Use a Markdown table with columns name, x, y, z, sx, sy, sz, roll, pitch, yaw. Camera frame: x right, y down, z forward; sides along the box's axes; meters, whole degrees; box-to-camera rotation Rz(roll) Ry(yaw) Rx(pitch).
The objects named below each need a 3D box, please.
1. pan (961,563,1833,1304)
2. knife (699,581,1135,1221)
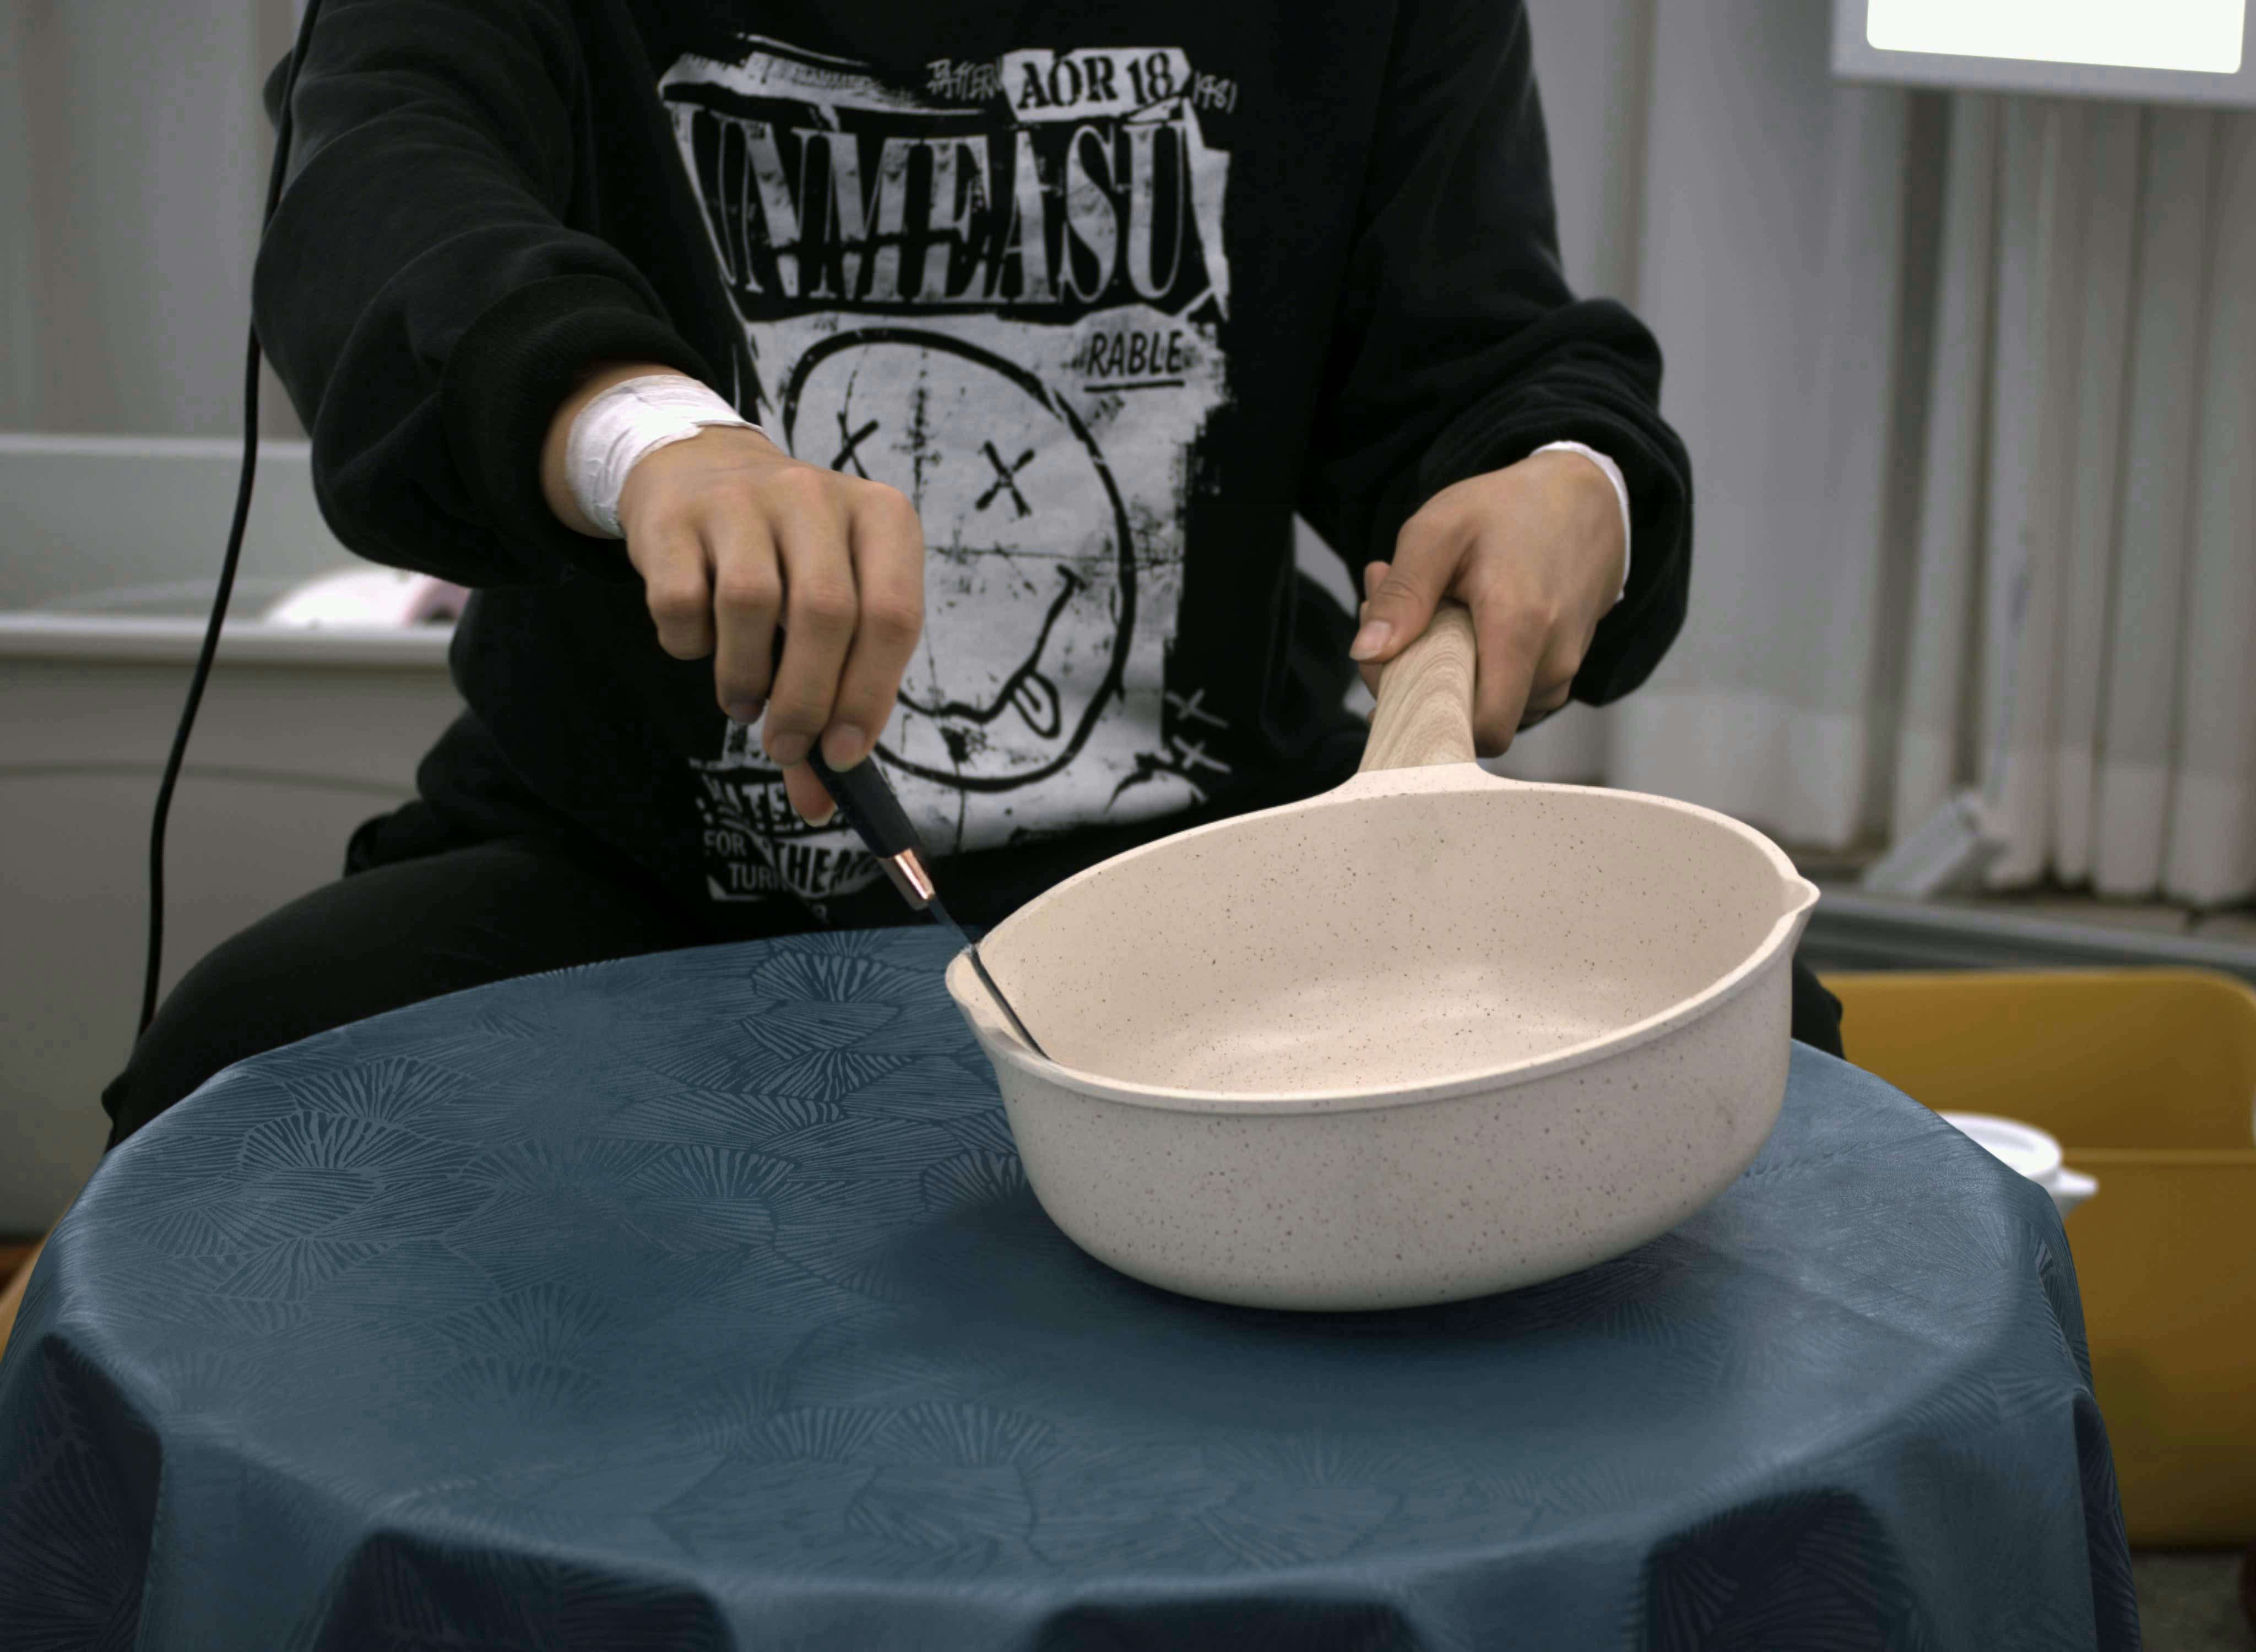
| name | x | y | z | sx | sy | sz | roll | pitch | yaw |
| --- | --- | --- | --- | --- | --- | --- | --- | --- | --- |
| pan | 0.094 | 0.028 | 1.664 | 0.262 | 0.103 | 0.433 | -7 | 19 | 9 |
| knife | -0.056 | 0.024 | 1.523 | 0.017 | 0.226 | 0.026 | -35 | 0 | -22 |
